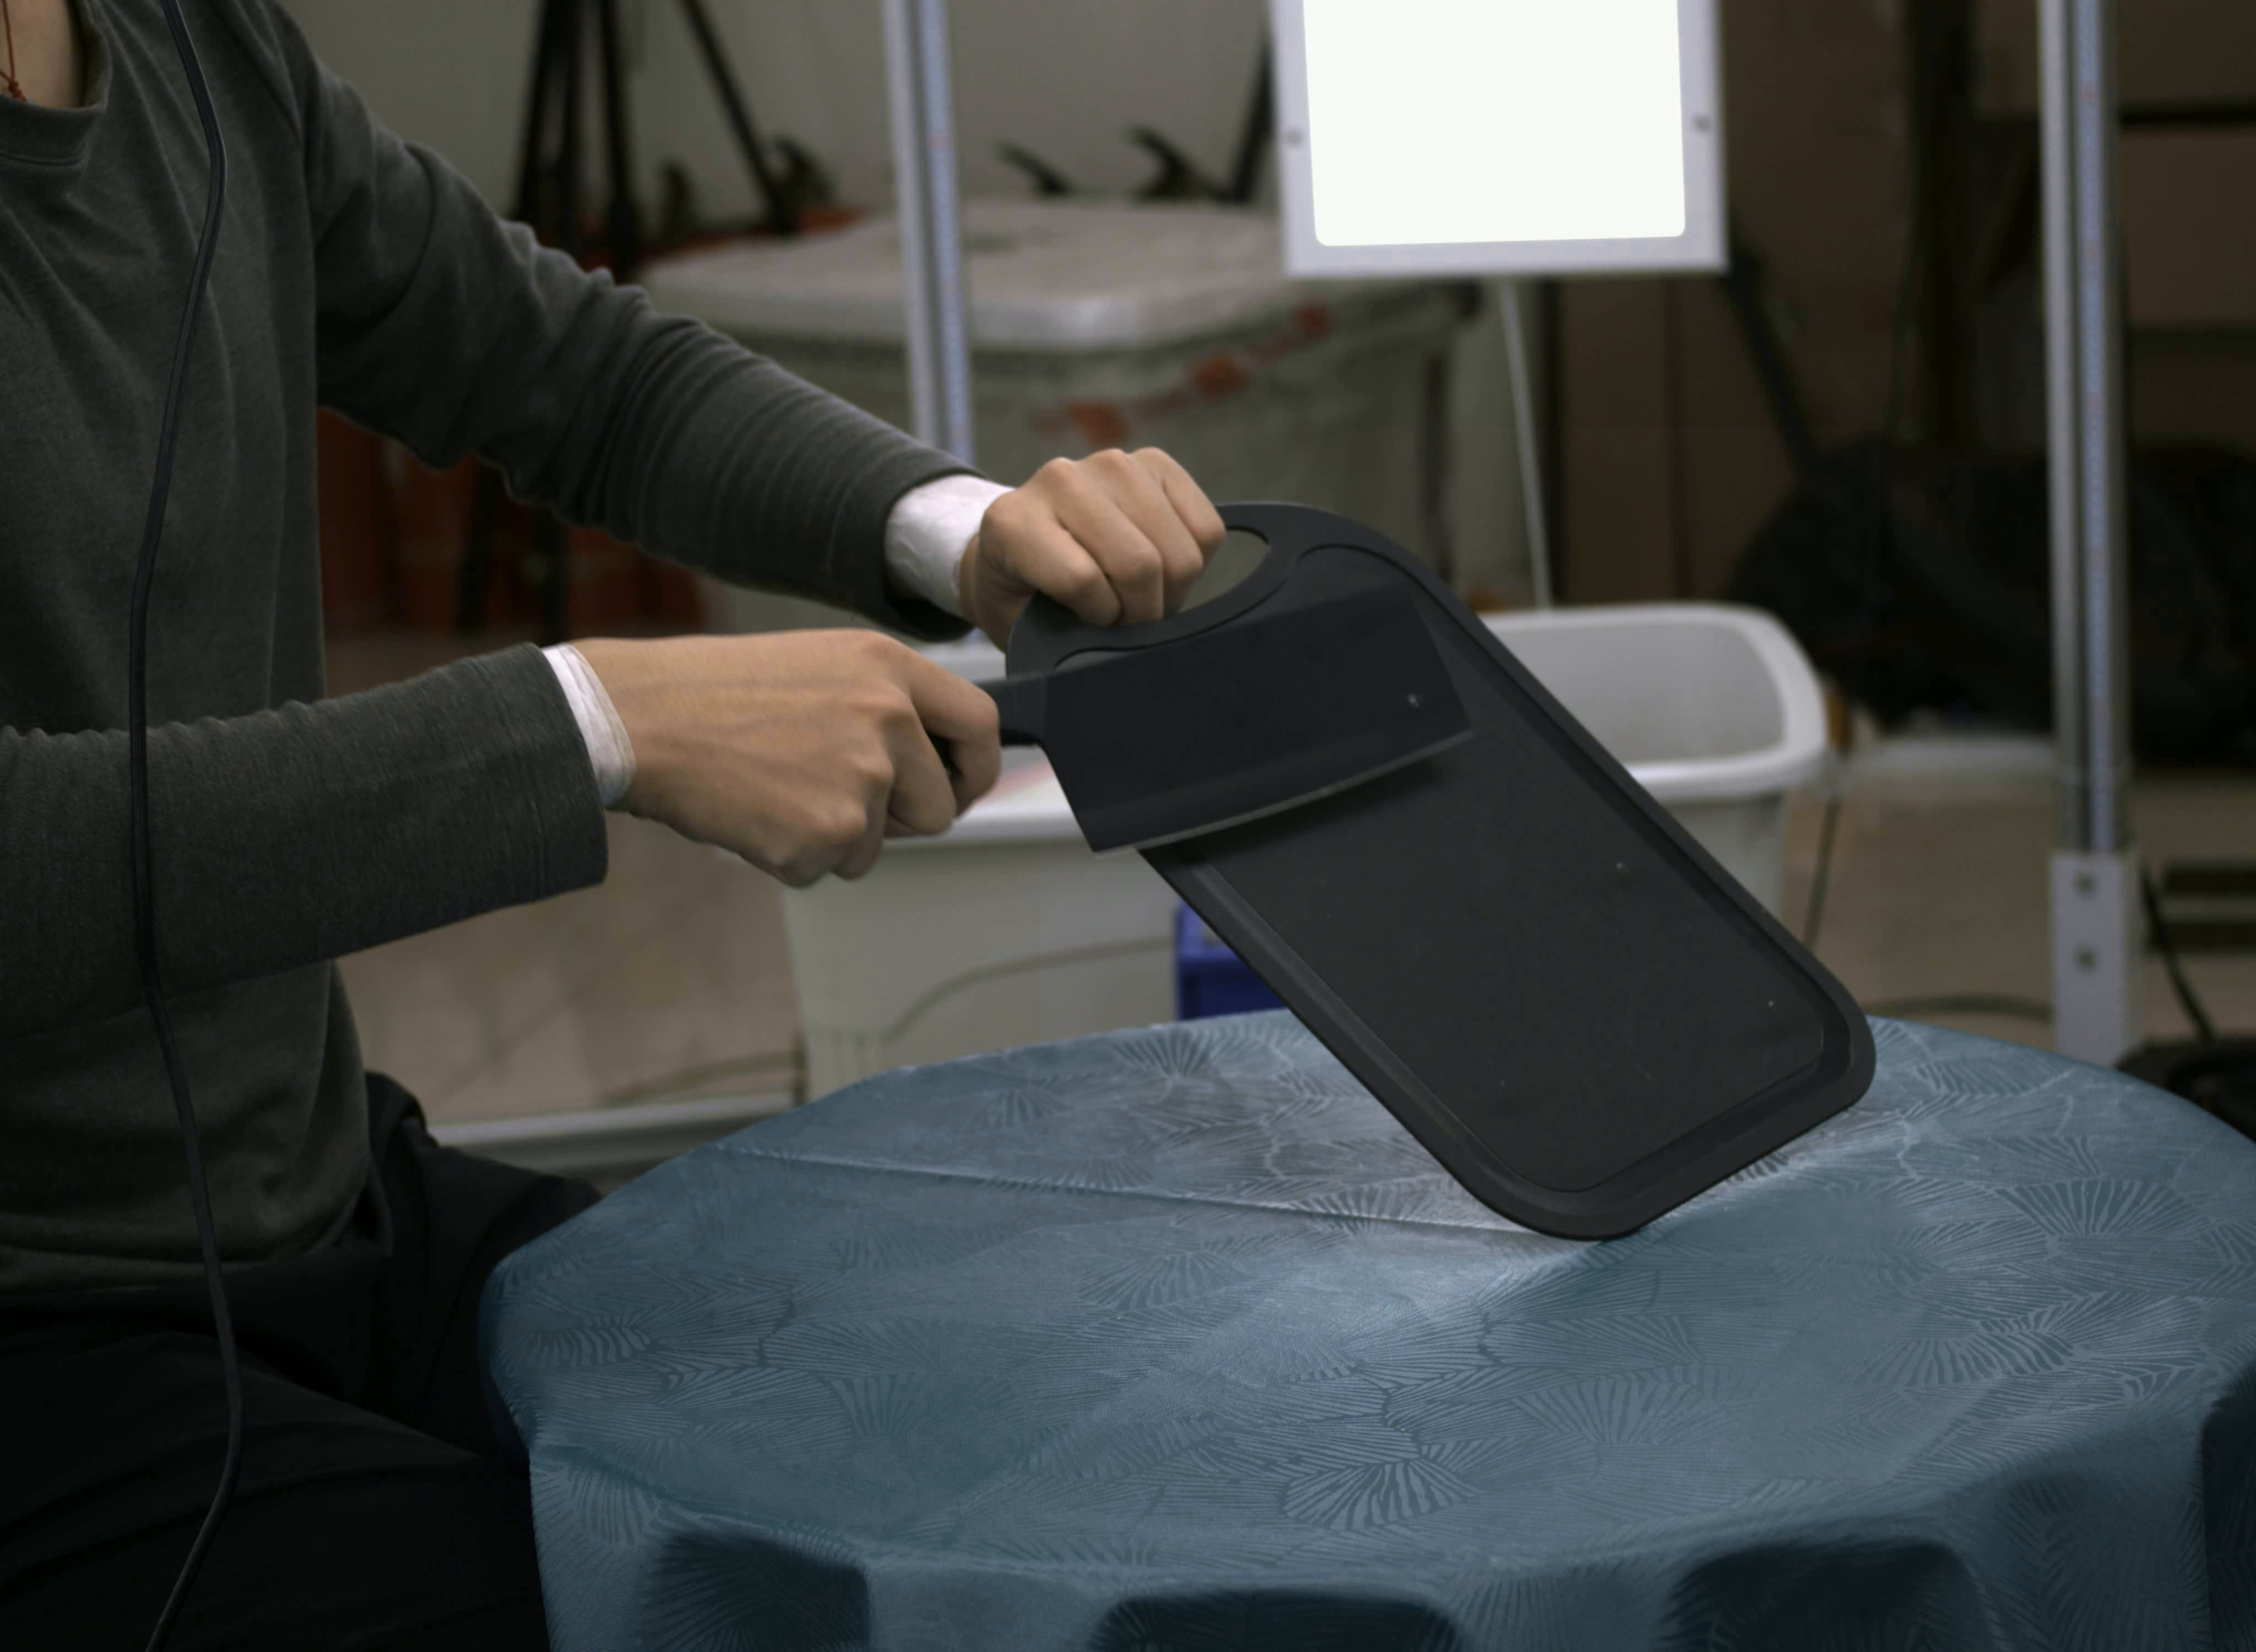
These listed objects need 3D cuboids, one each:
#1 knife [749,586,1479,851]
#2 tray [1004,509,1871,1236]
[{"bbox_3d":[-0.001,-0.028,1.856,0.295,0.081,0.021,-11,-19,-35],"label":"knife"},{"bbox_3d":[0.103,0.005,1.909,0.206,0.010,0.328,-23,61,-41],"label":"tray"}]
